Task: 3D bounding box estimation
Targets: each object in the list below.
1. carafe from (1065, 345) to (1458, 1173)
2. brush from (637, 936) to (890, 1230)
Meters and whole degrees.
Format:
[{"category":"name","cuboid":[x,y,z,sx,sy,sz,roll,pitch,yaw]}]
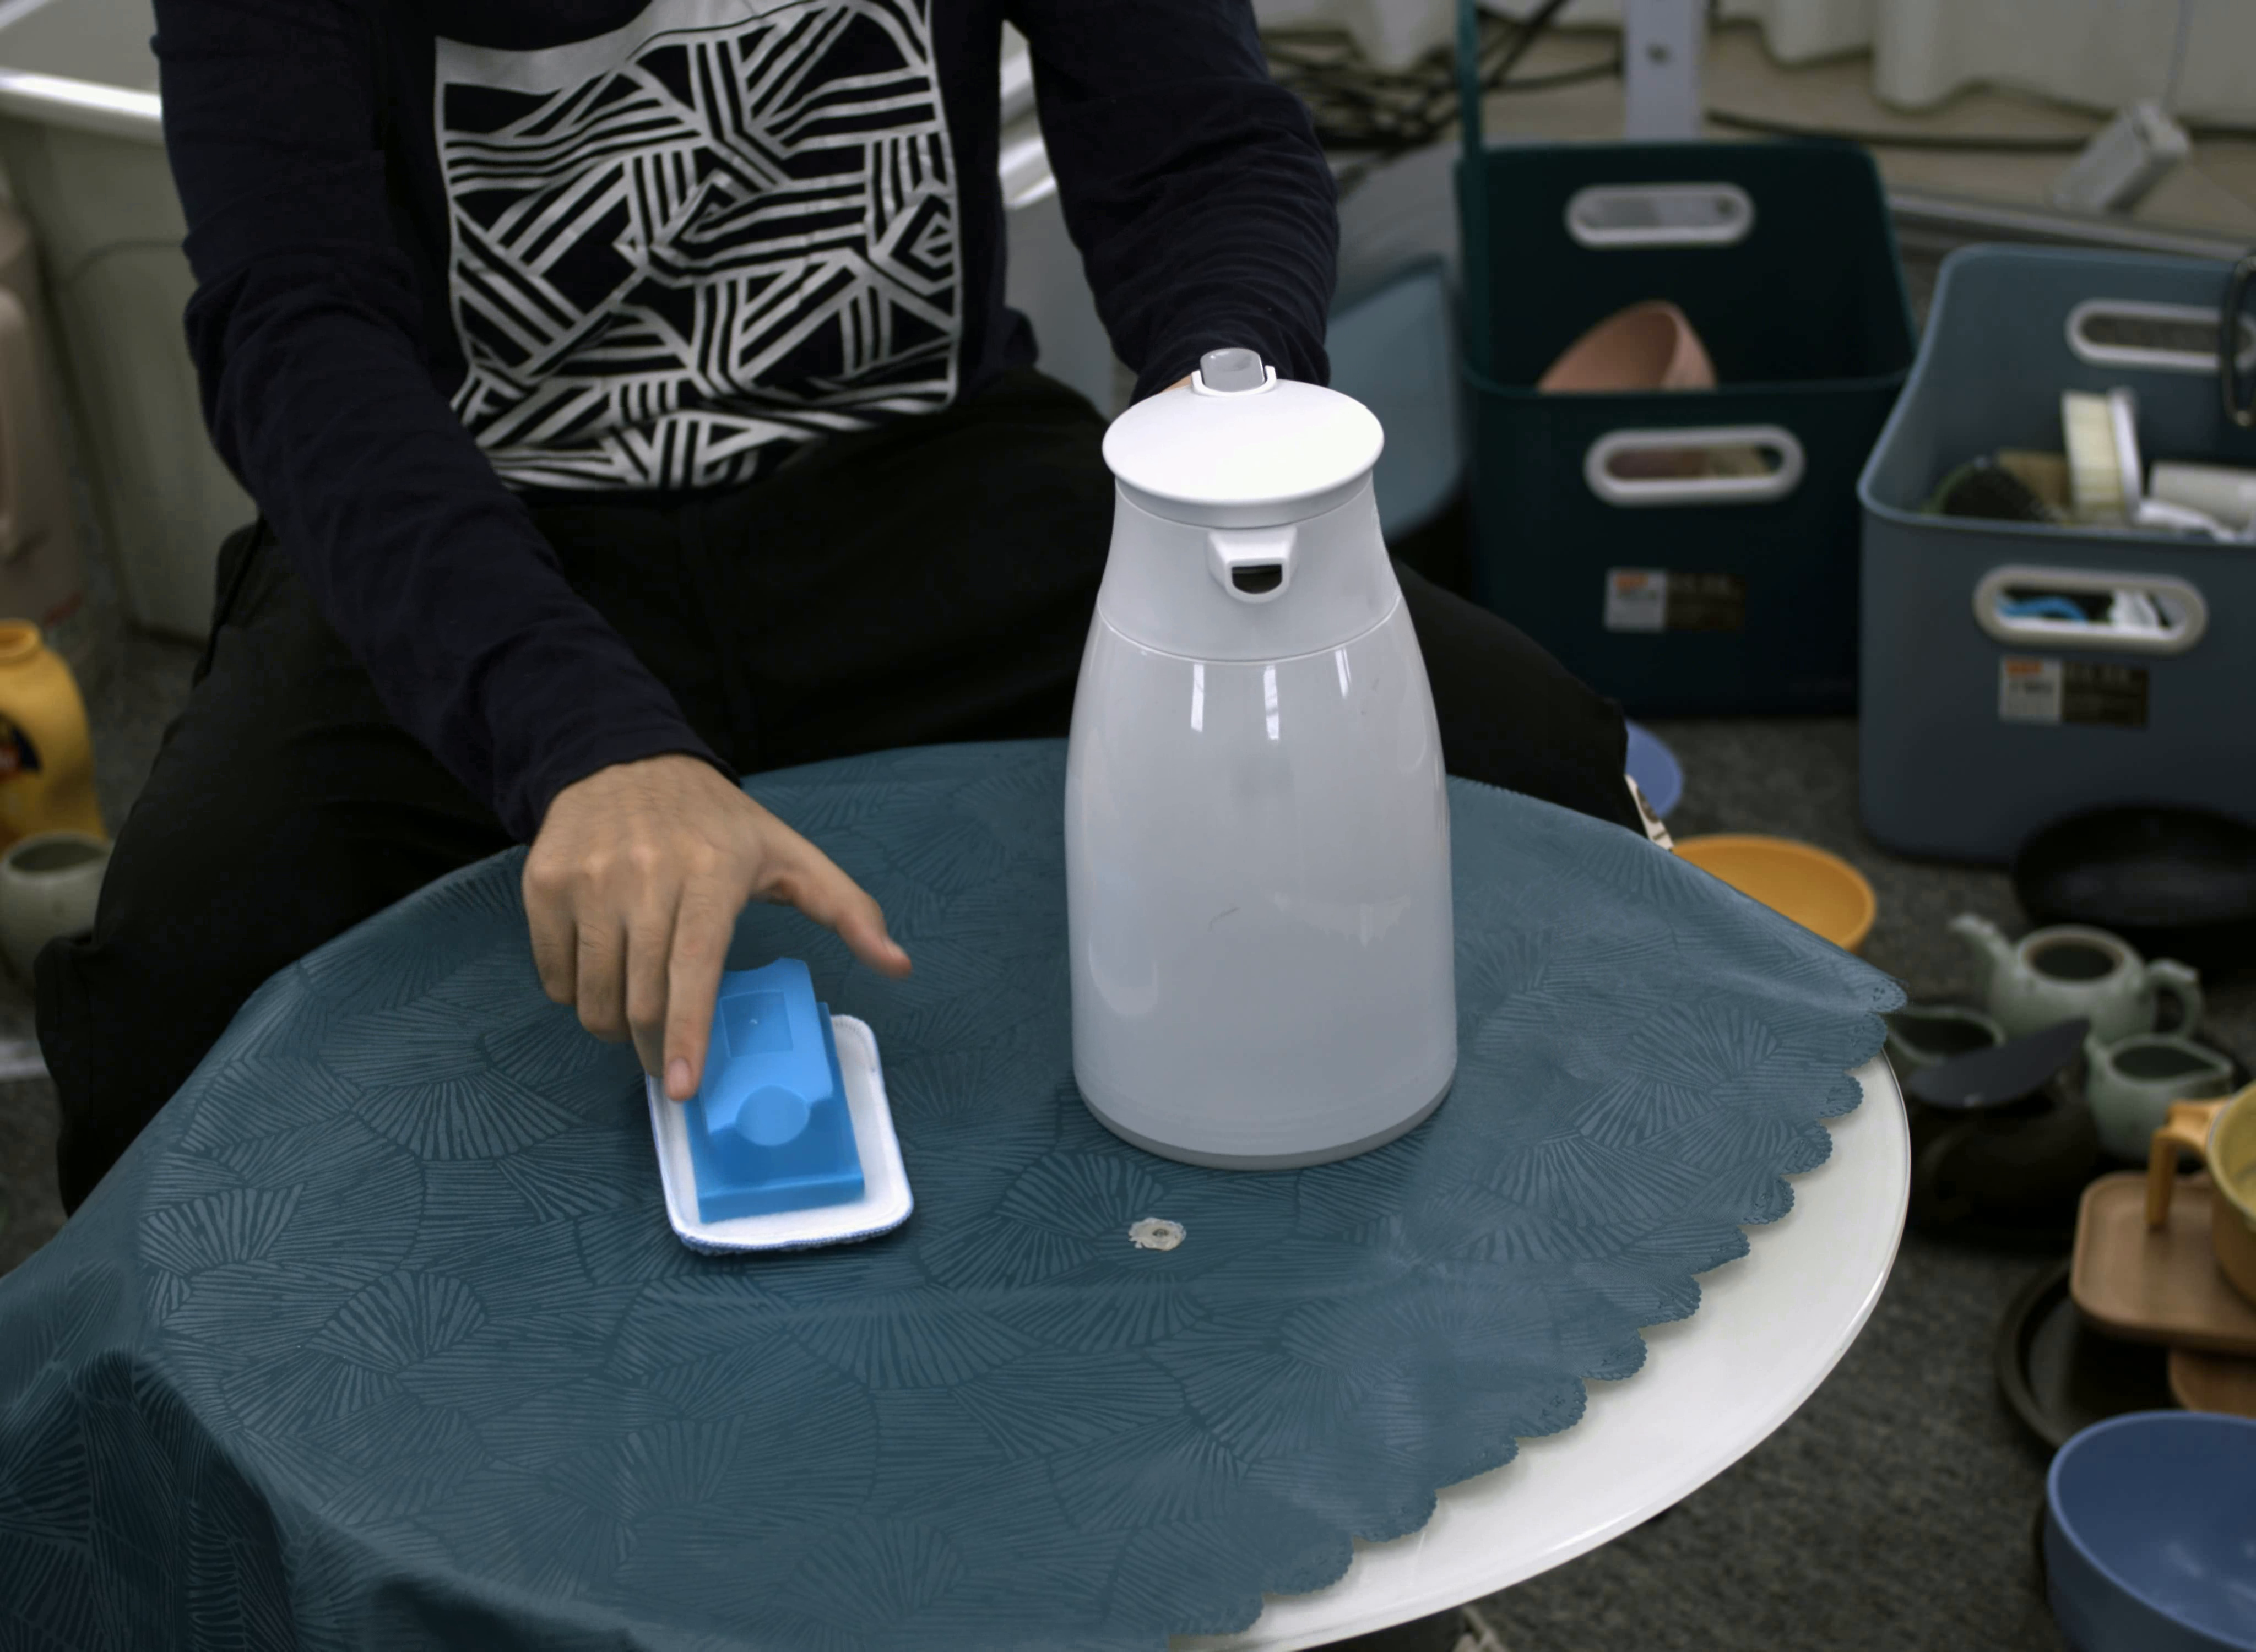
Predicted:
[{"category":"carafe","cuboid":[0.039,-0.033,1.884,0.132,0.246,0.170,-5,26,-4]},{"category":"brush","cuboid":[-0.122,0.082,1.884,0.083,0.055,0.146,-2,29,-6]}]
